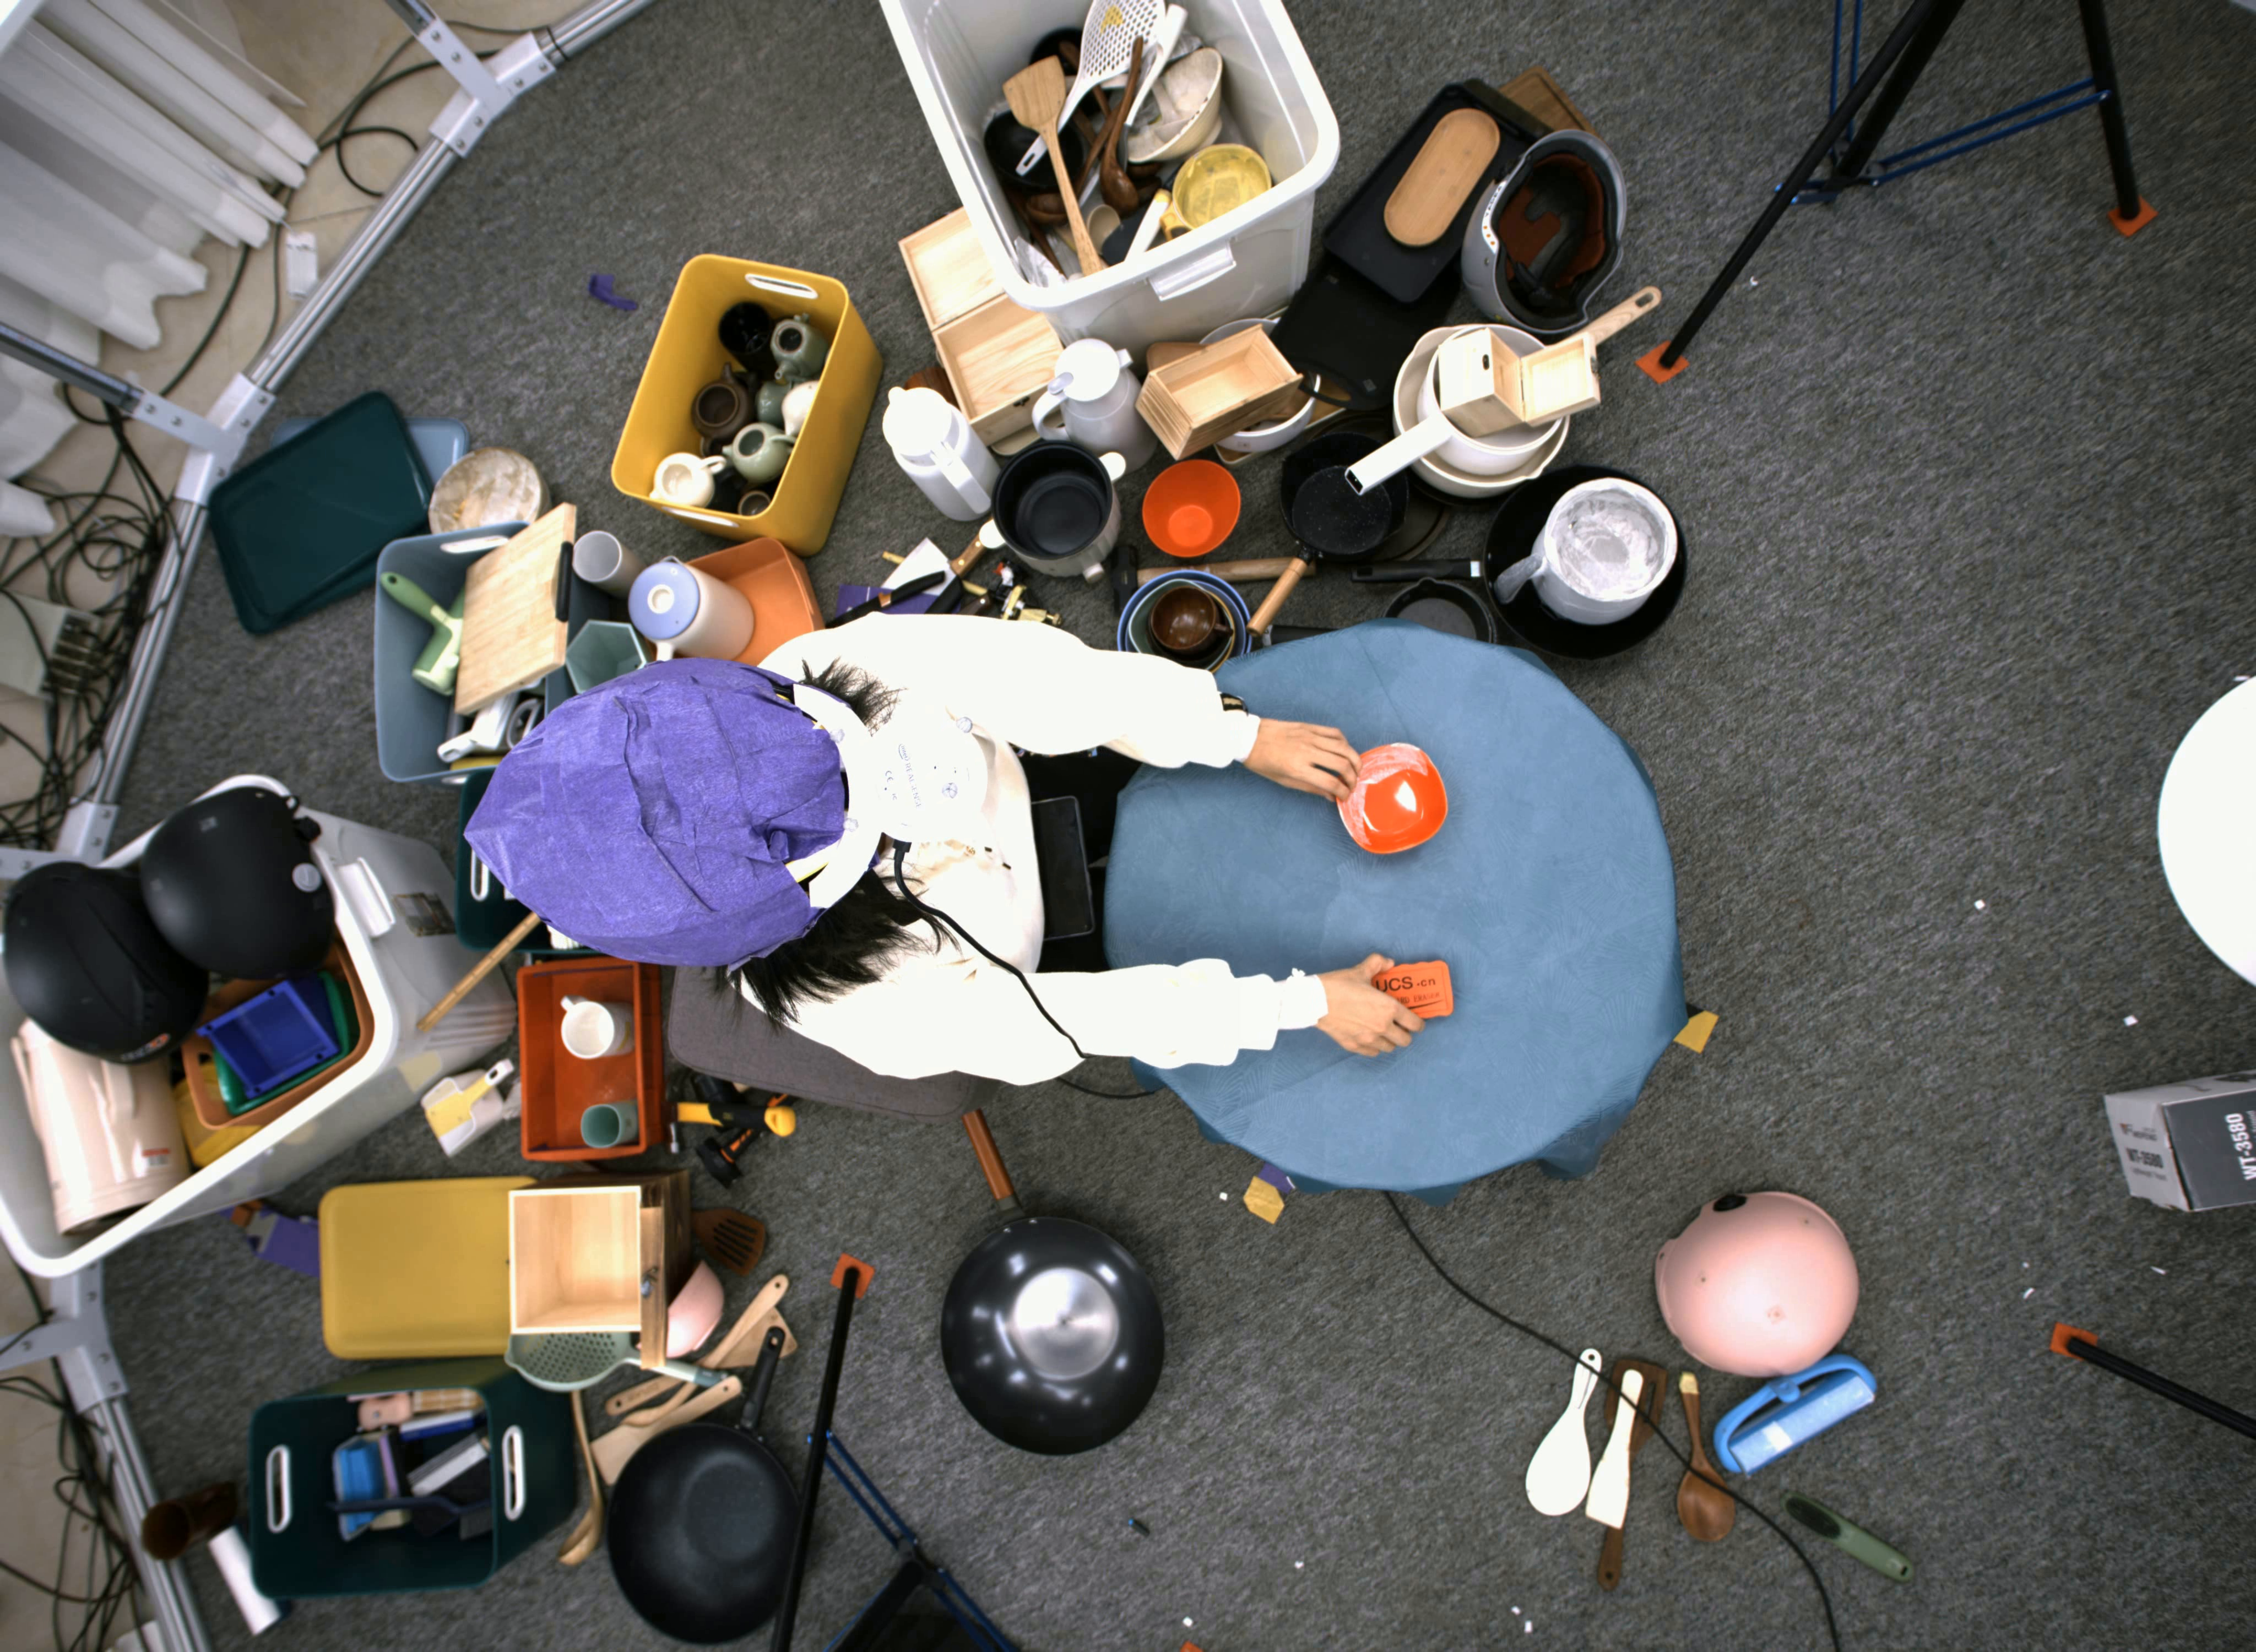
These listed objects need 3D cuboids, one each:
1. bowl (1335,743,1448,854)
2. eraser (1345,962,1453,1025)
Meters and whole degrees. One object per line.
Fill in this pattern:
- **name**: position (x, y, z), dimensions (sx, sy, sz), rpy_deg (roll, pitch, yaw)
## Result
- **bowl**: position (0.275, -0.028, 1.439), dimensions (0.119, 0.051, 0.118), rpy_deg (-1, 88, 11)
- **eraser**: position (0.282, 0.173, 1.441), dimensions (0.108, 0.023, 0.059), rpy_deg (-7, 87, 10)
